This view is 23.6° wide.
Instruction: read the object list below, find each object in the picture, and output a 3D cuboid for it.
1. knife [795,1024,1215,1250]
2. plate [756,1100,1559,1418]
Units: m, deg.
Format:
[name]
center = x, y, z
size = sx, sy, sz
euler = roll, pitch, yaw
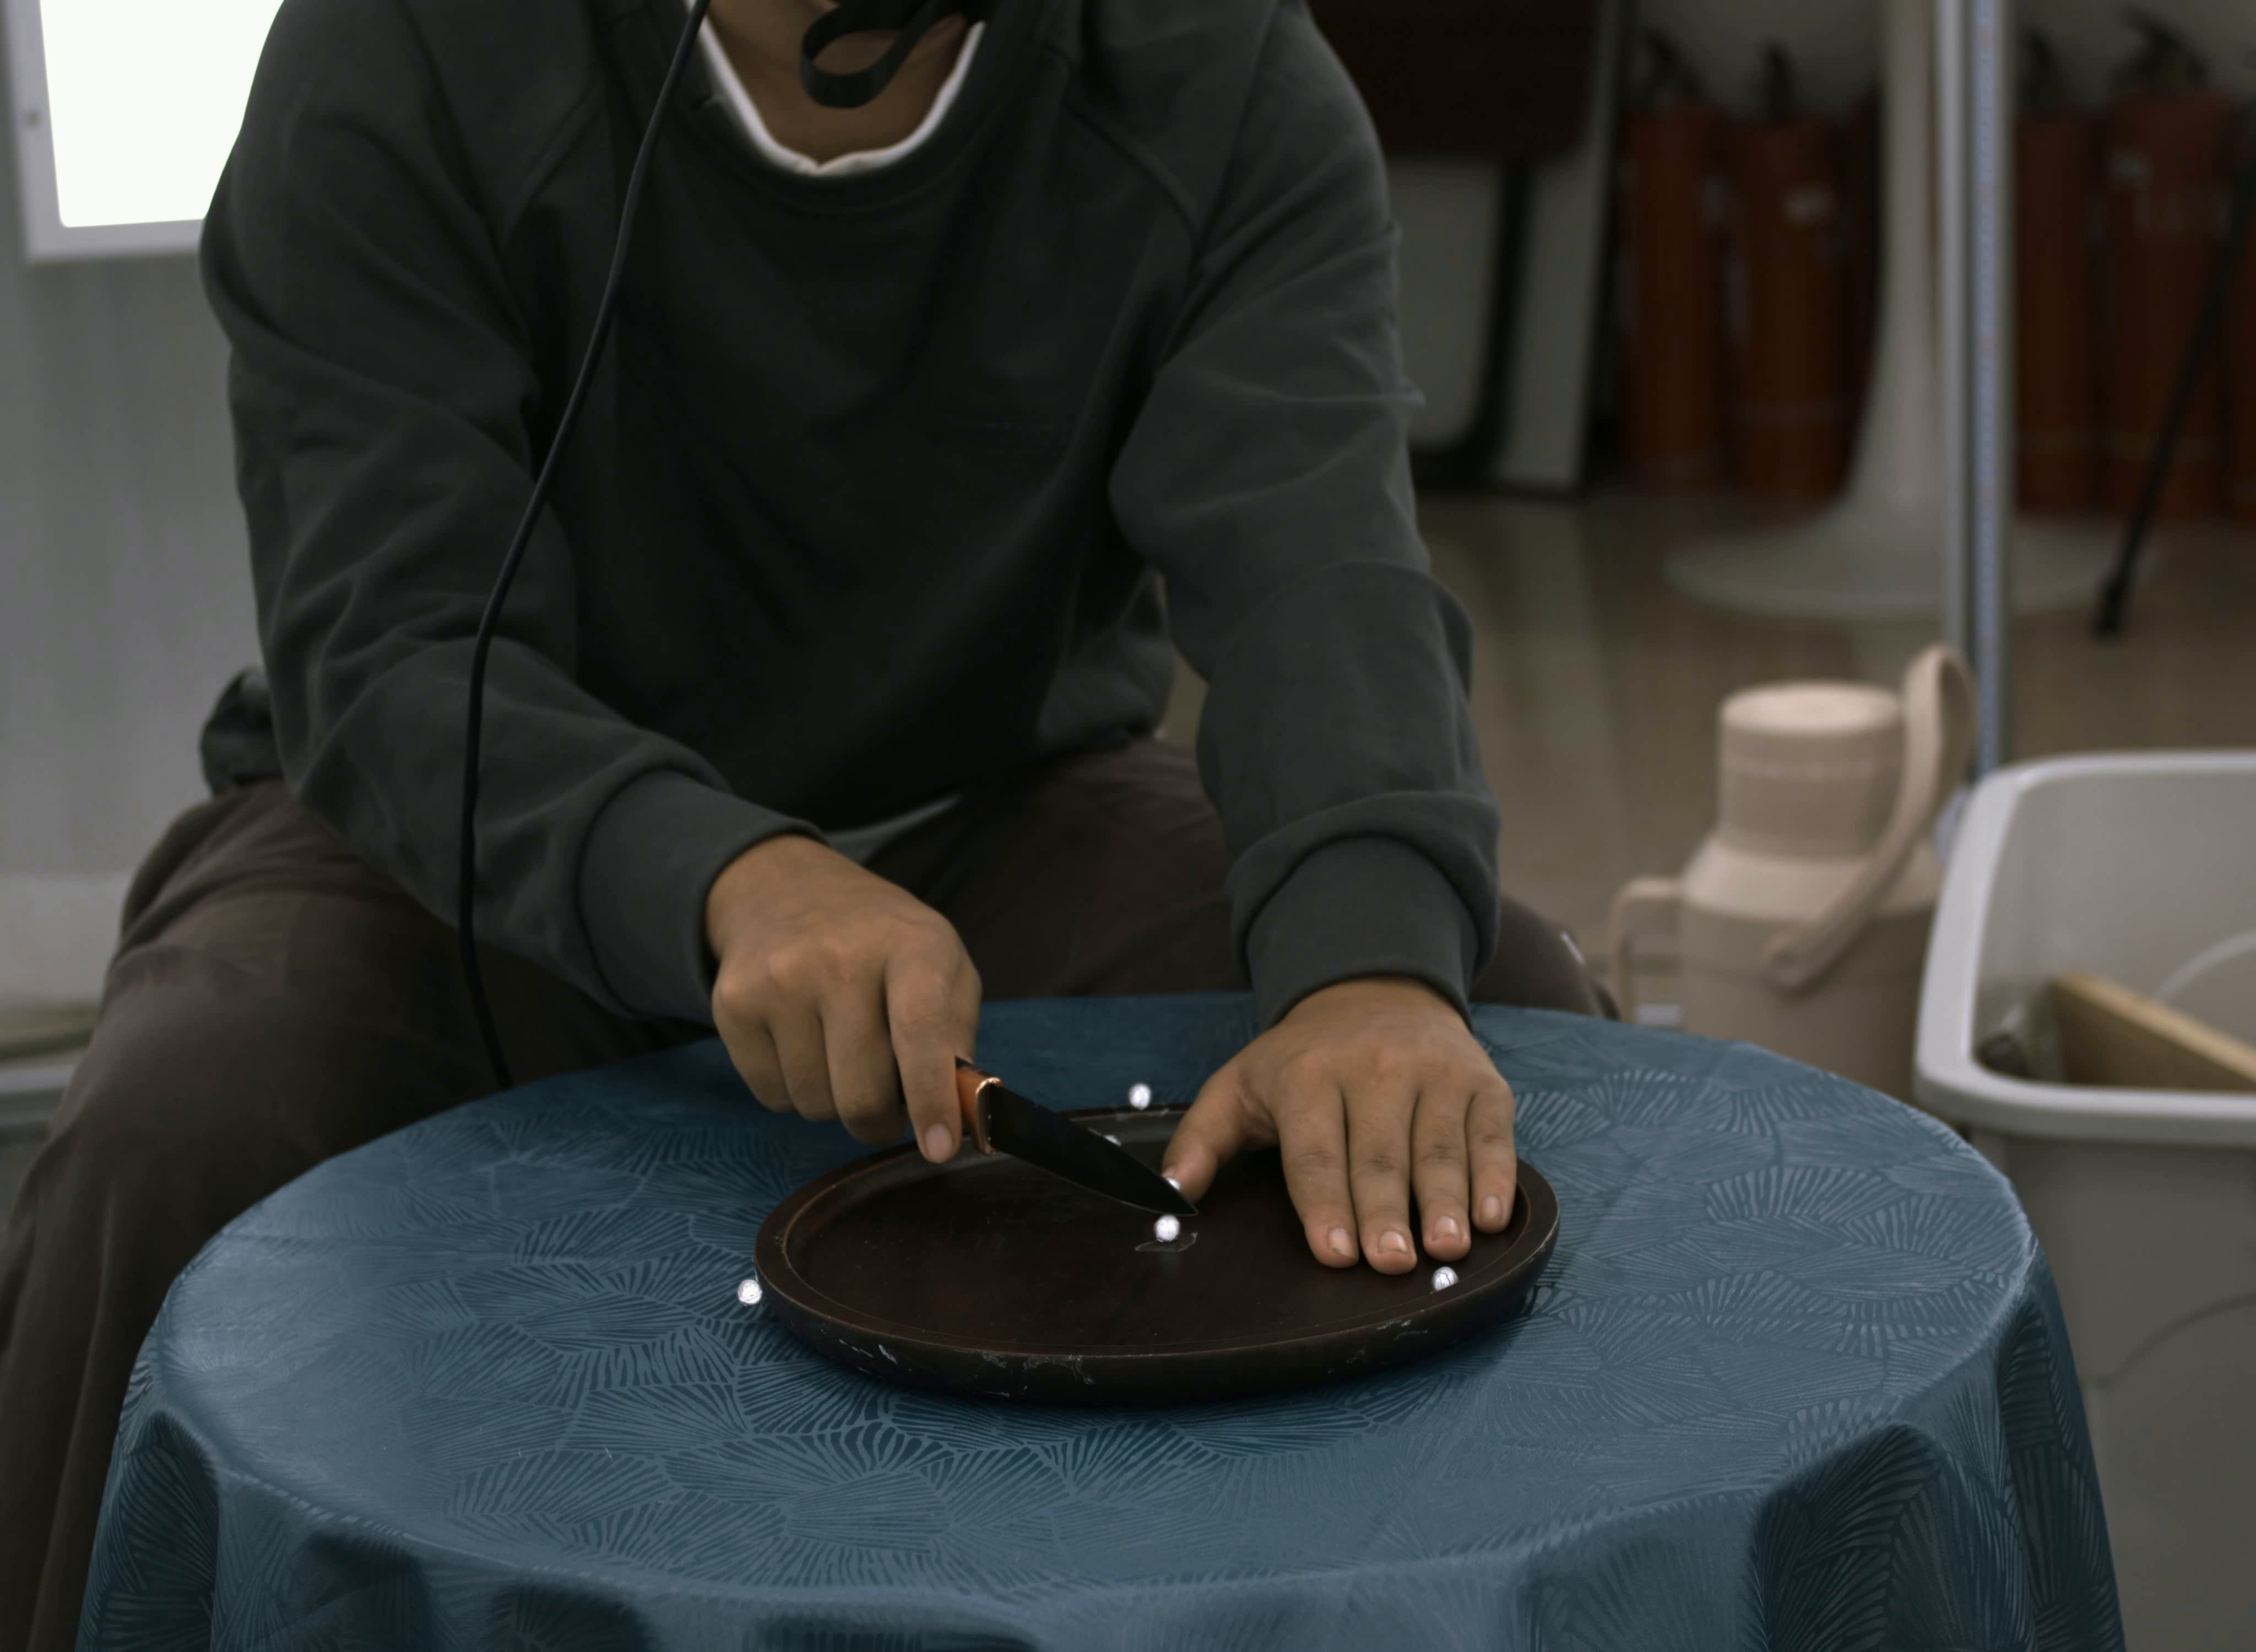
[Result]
[knife]
center = -0.041, 0.097, 1.720
size = 0.017, 0.026, 0.228
euler = -13, 19, -34
[plate]
center = 0.010, 0.132, 1.678
size = 0.251, 0.029, 0.255
euler = -5, 13, 0
